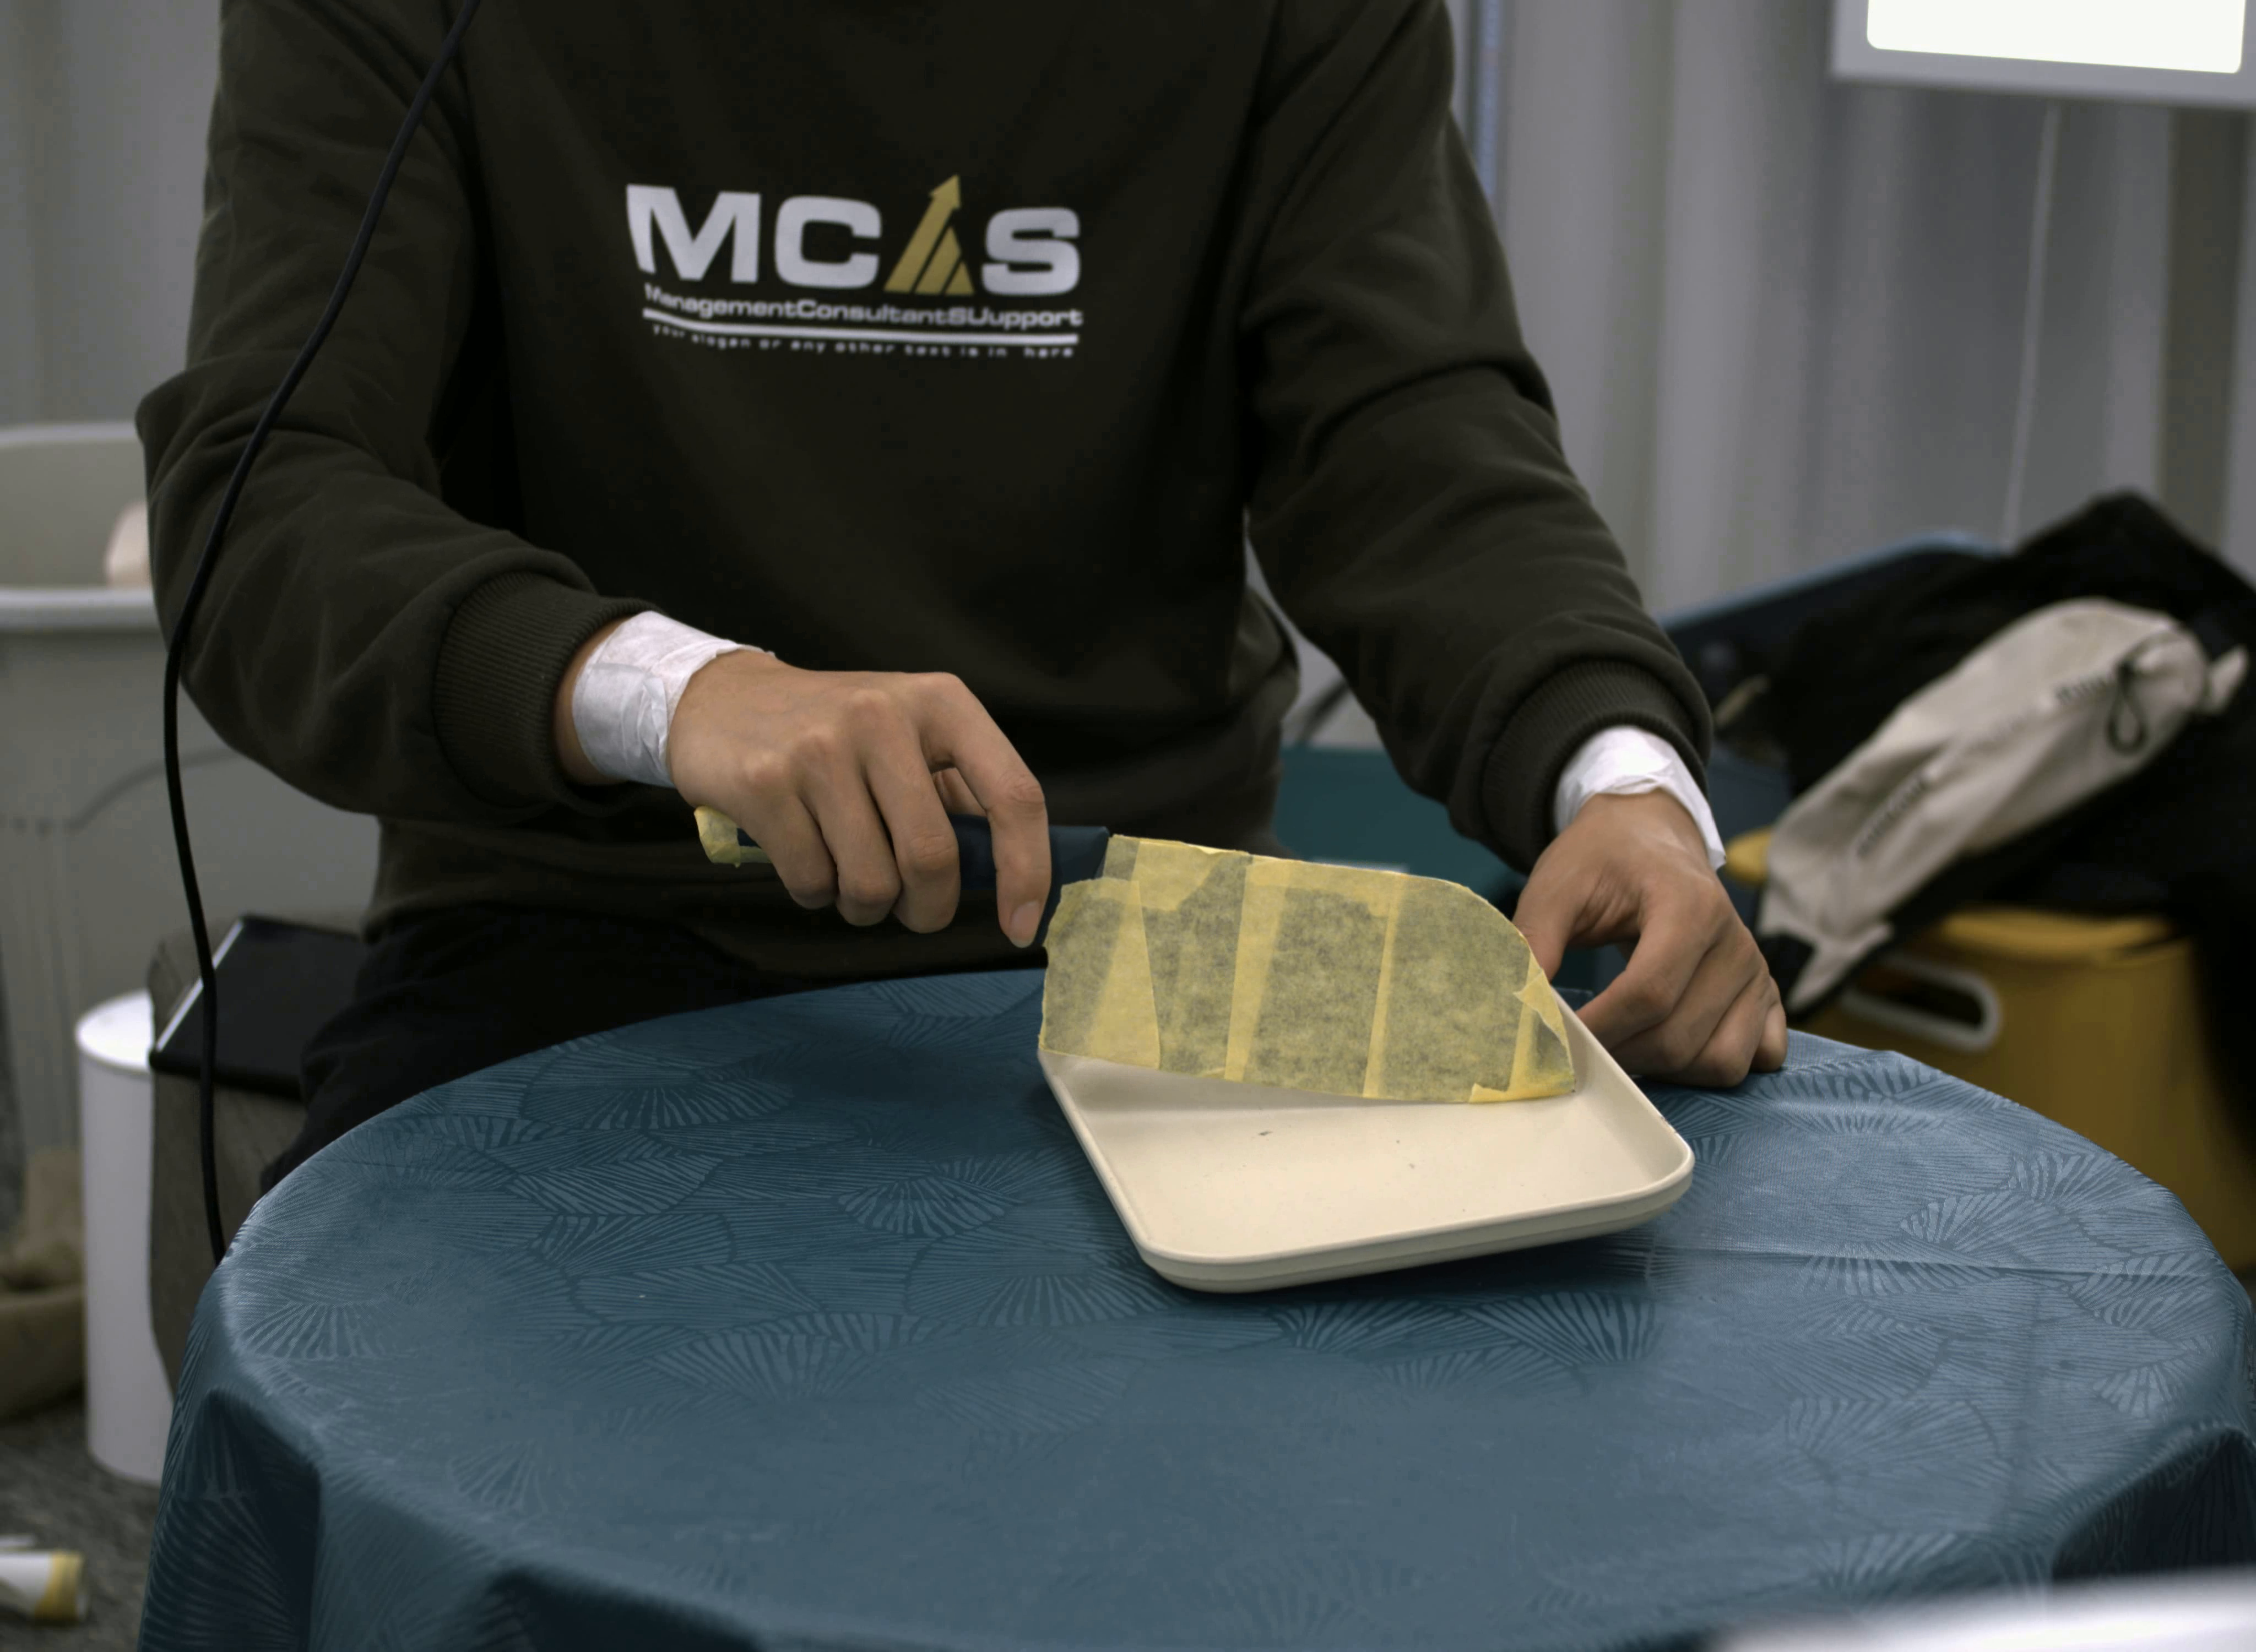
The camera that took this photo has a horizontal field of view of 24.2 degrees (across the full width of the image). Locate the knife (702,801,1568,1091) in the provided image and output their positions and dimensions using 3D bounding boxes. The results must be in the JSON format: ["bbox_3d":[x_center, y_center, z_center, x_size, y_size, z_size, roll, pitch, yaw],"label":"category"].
[{"bbox_3d":[0.000,0.037,1.682,0.287,0.081,0.027,10,-3,10],"label":"knife"}]

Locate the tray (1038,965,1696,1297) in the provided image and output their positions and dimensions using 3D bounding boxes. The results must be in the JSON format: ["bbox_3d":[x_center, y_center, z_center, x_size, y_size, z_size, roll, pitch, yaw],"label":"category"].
[{"bbox_3d":[0.070,0.092,1.640,0.171,0.017,0.237,-9,17,-8],"label":"tray"}]
